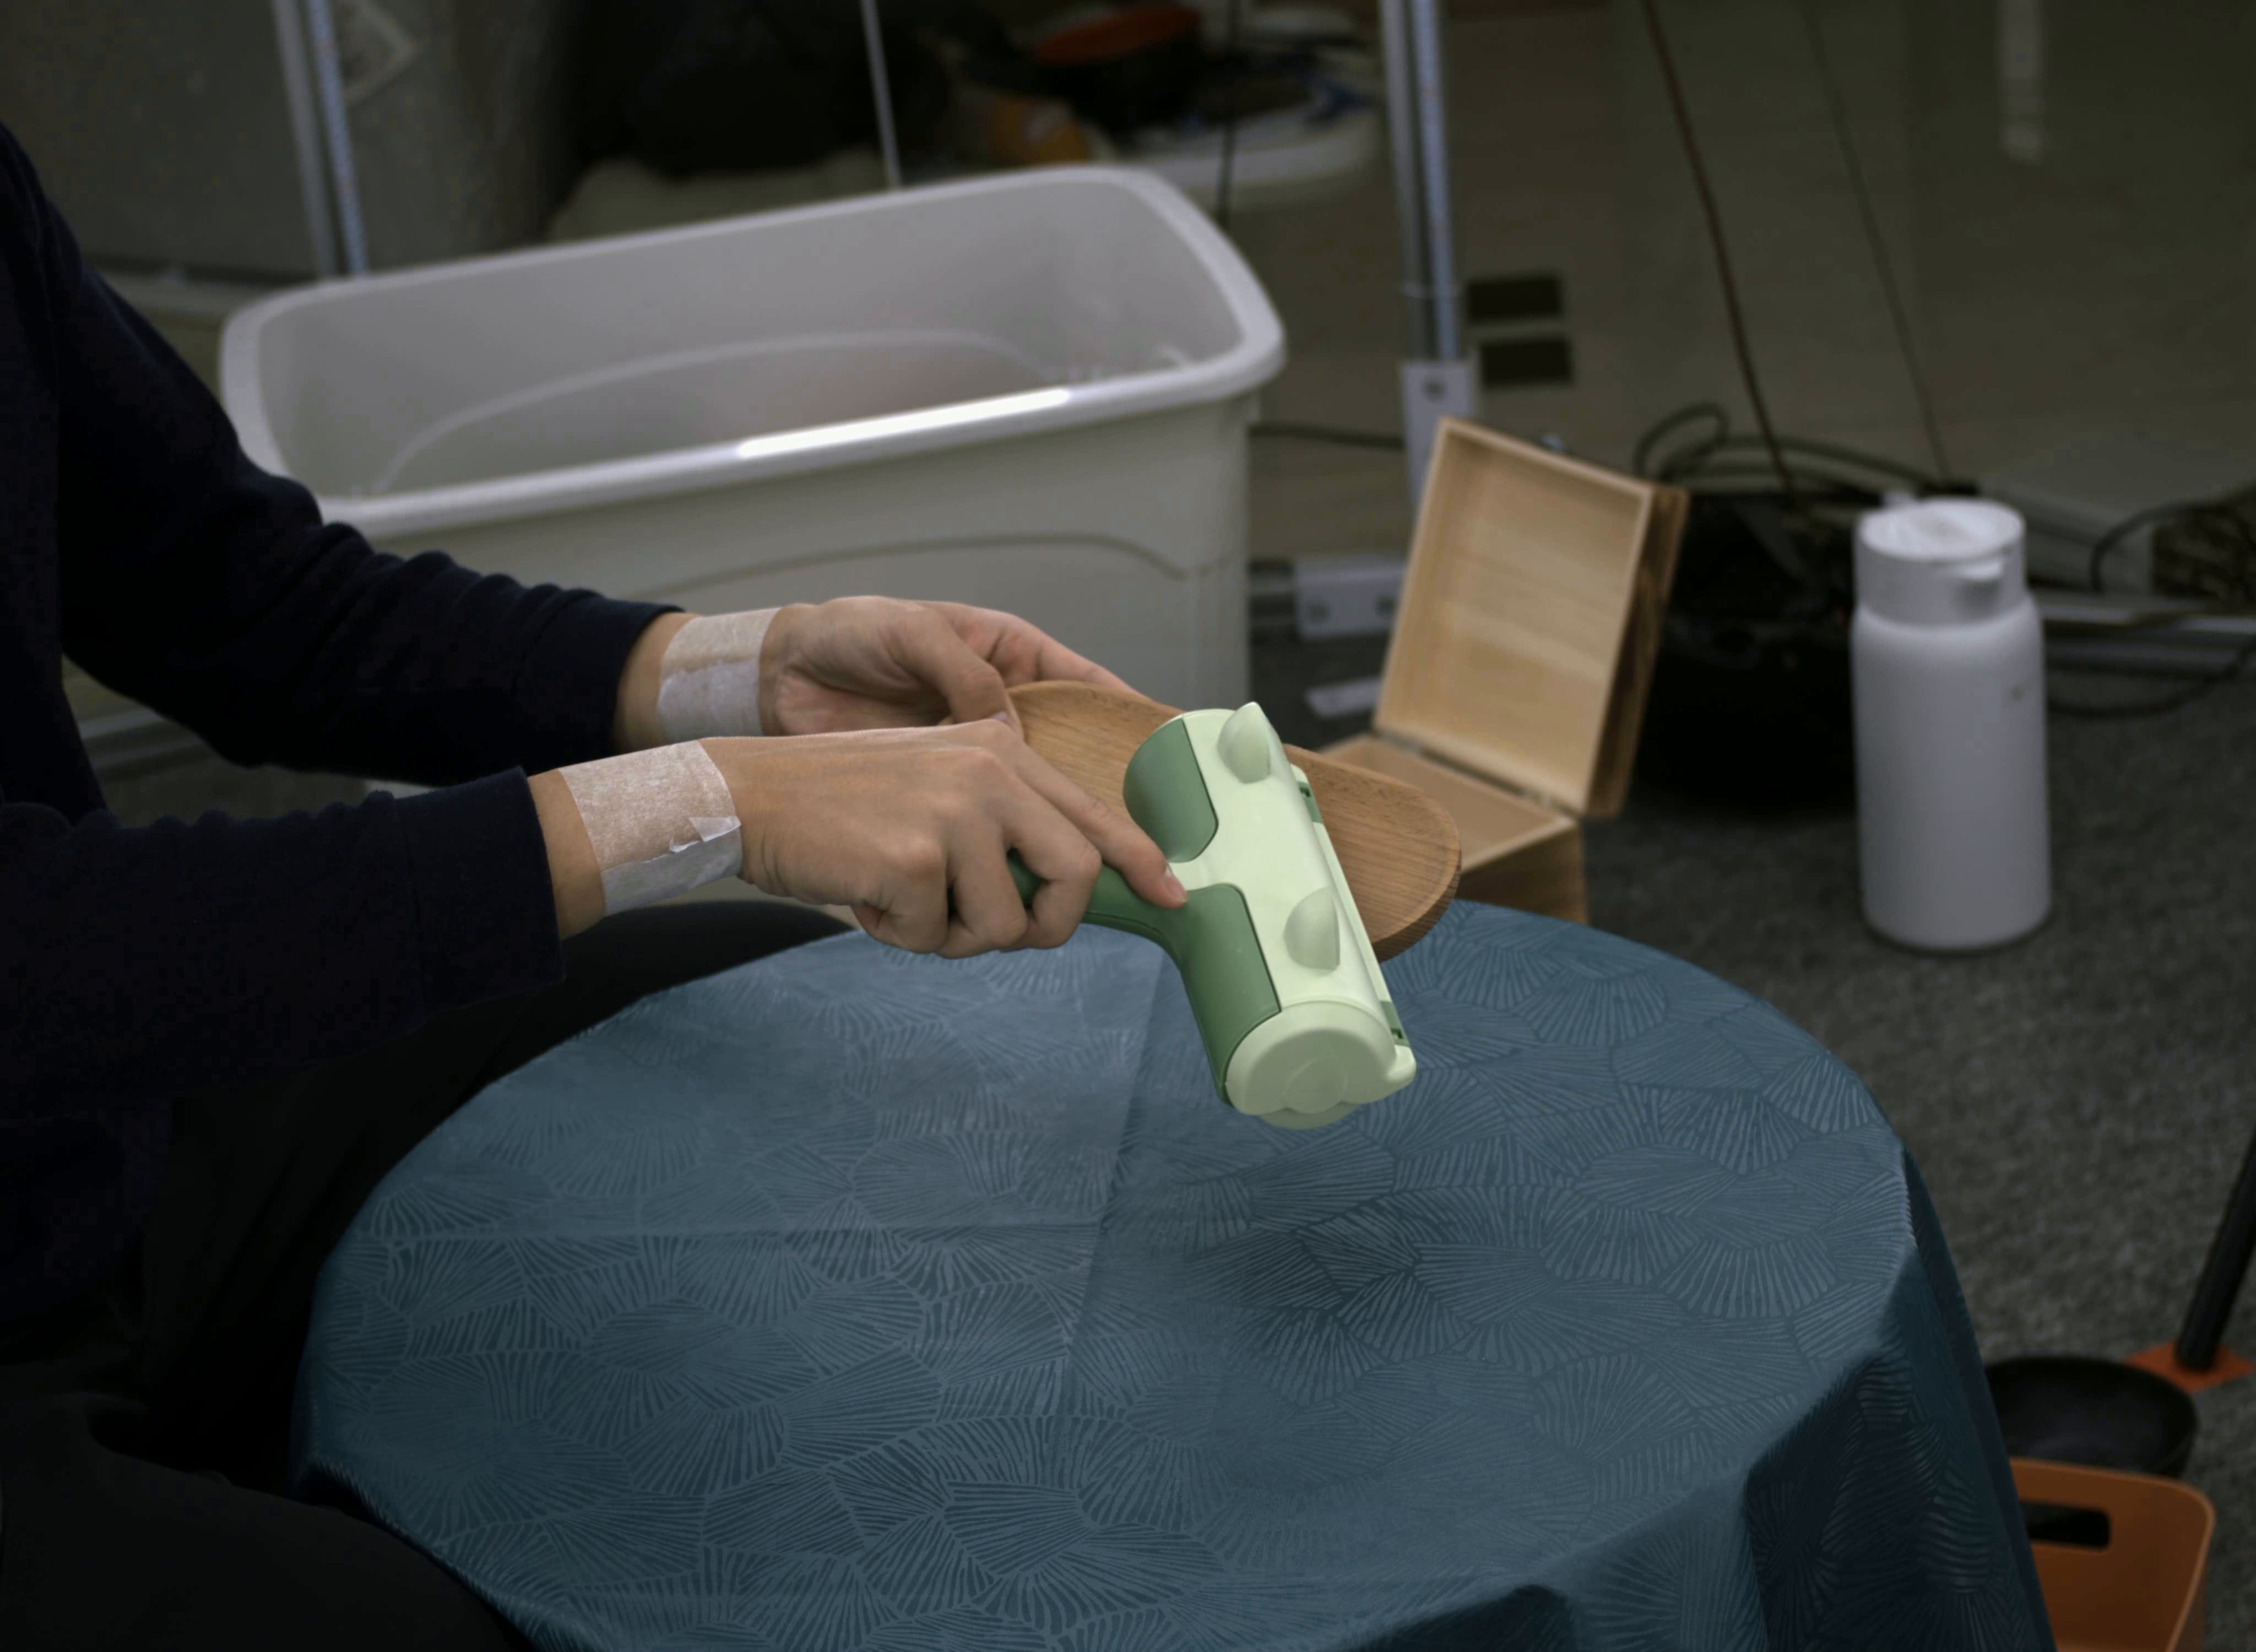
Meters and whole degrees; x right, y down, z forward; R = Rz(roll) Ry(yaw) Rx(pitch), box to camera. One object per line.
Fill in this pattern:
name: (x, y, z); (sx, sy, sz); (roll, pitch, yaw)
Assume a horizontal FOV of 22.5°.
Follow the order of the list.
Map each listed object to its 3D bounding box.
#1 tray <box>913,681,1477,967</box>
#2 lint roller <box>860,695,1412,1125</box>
tray: (0.023, -0.001, 2.087); (0.229, 0.021, 0.100); (19, 50, 30)
lint roller: (0.002, 0.005, 1.966); (0.184, 0.083, 0.195); (21, 28, -27)
